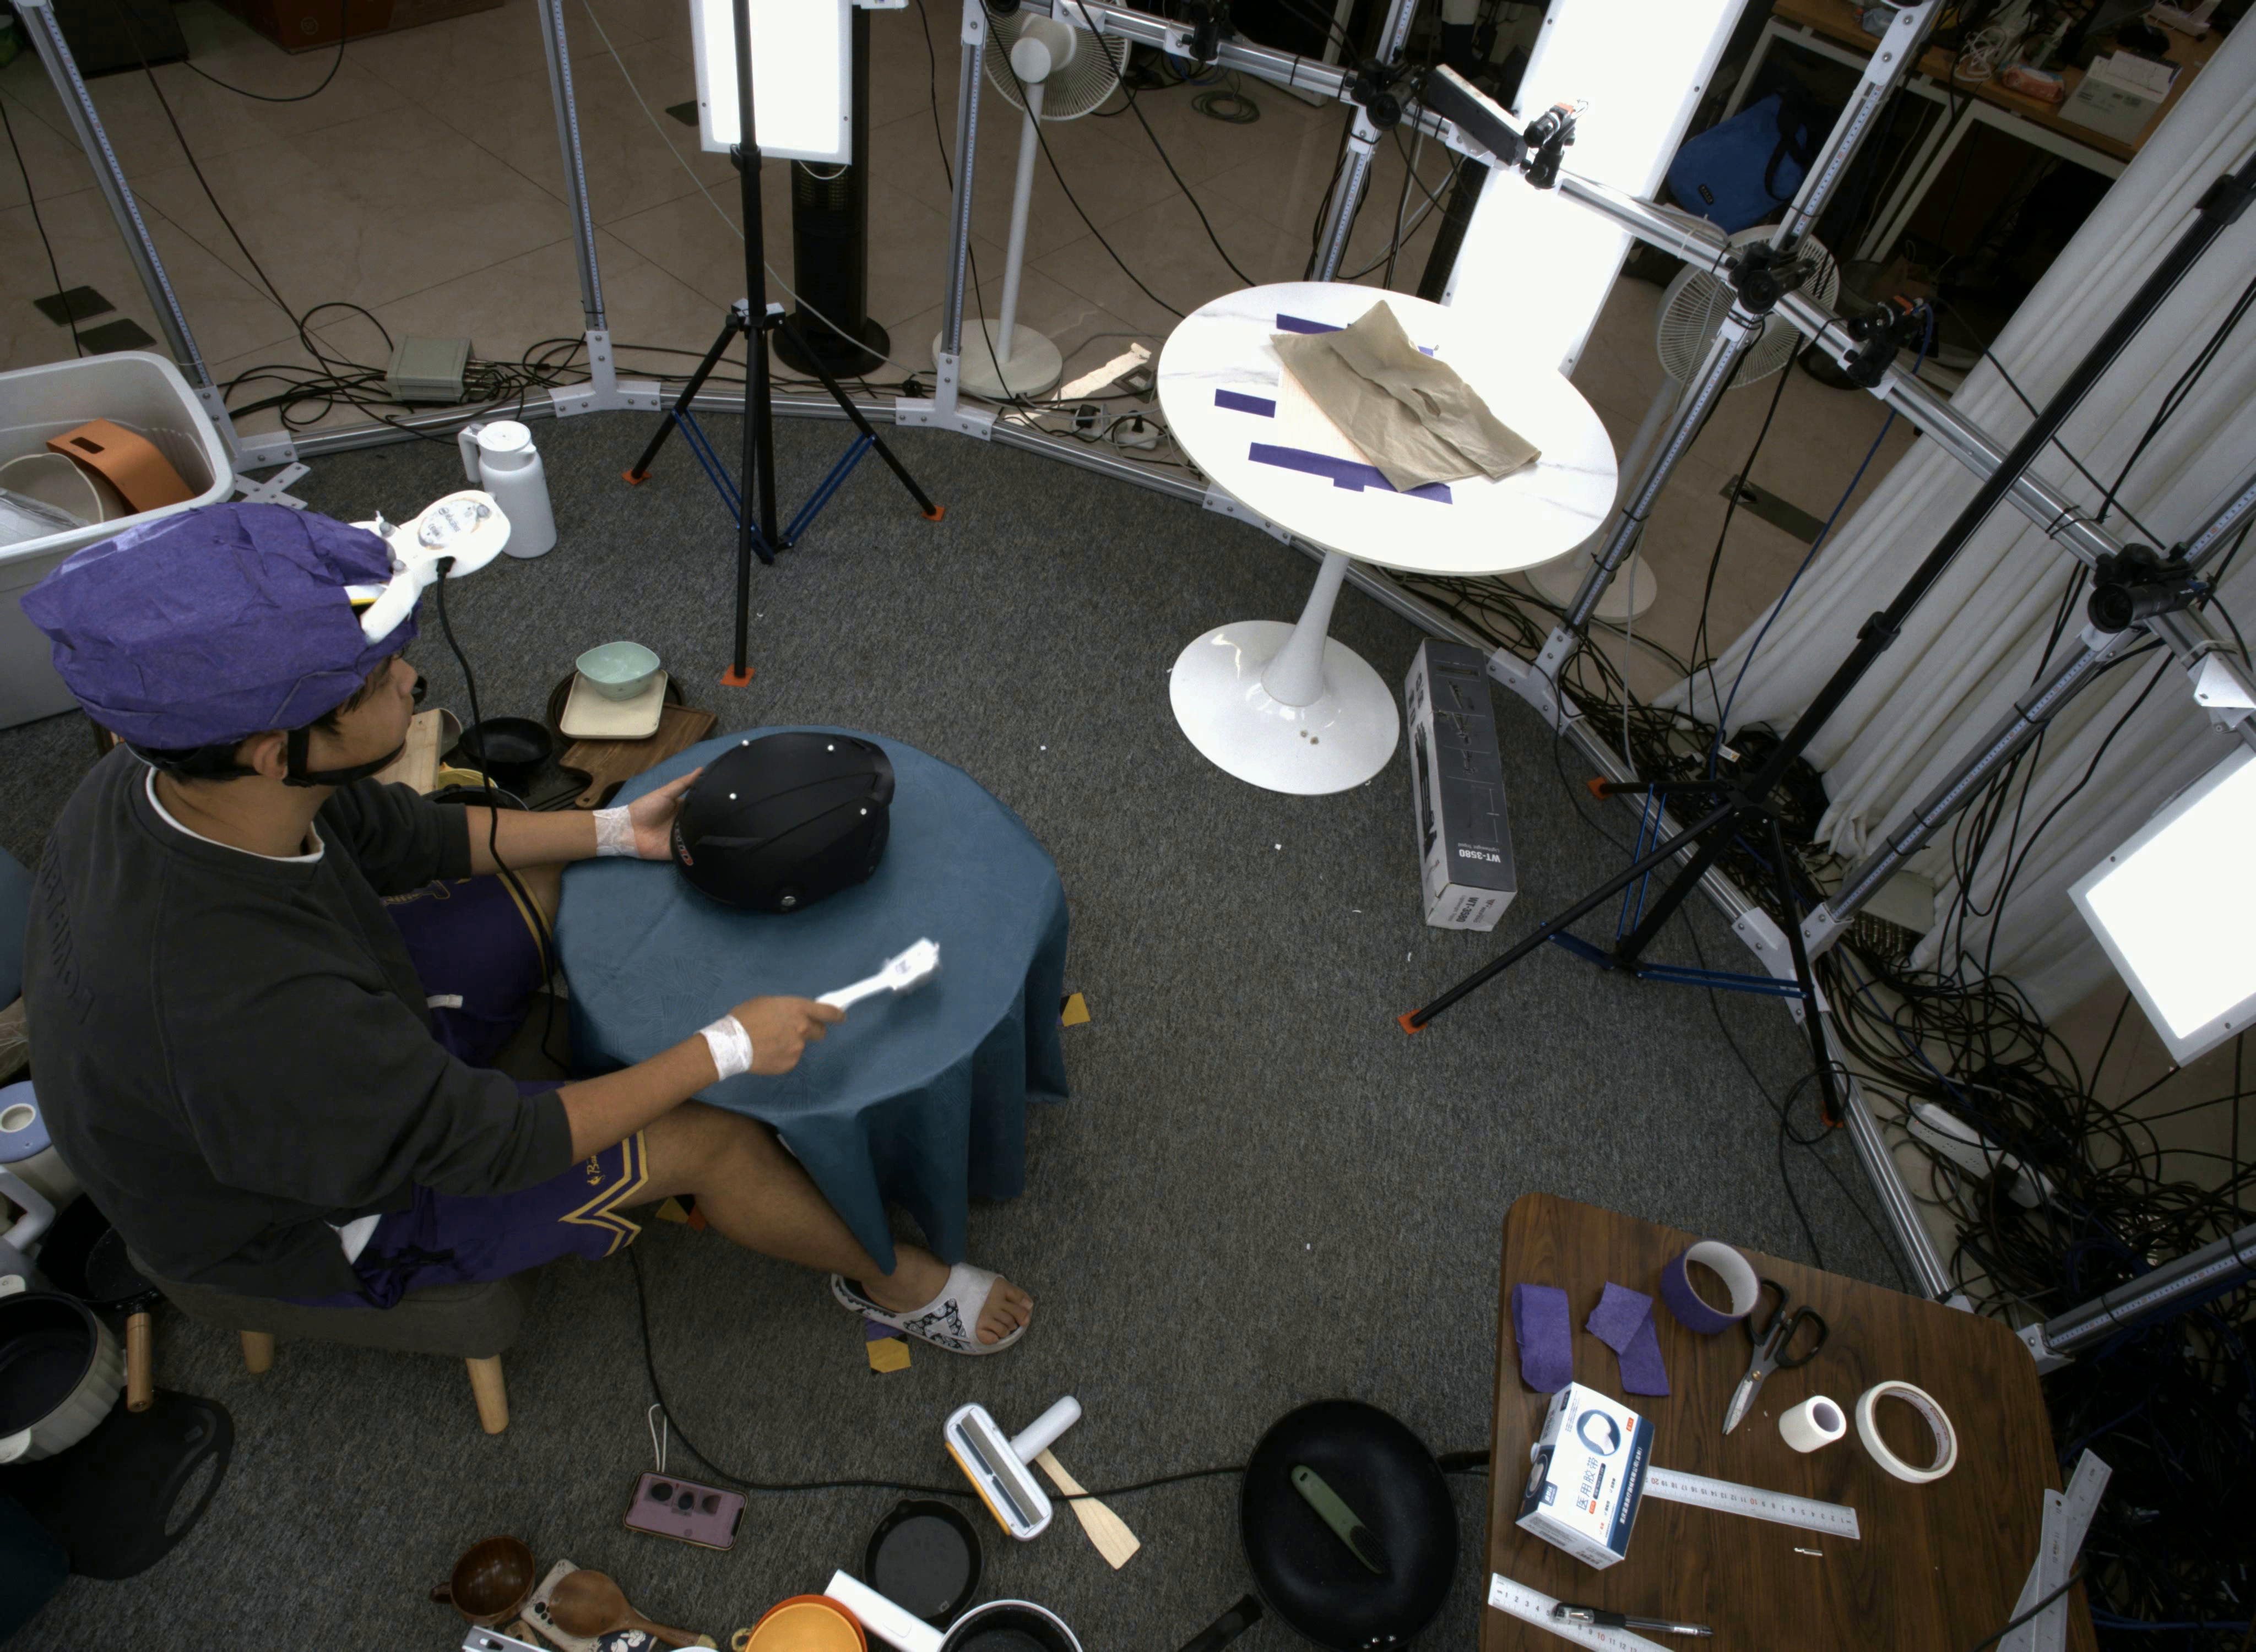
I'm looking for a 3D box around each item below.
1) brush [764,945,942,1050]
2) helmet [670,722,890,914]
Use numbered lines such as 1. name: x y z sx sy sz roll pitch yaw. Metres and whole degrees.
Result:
1. brush: -0.322 0.208 1.535 0.245 0.051 0.033 -28 63 -37
2. helmet: -0.437 -0.028 1.639 0.279 0.175 0.241 -13 59 -27
